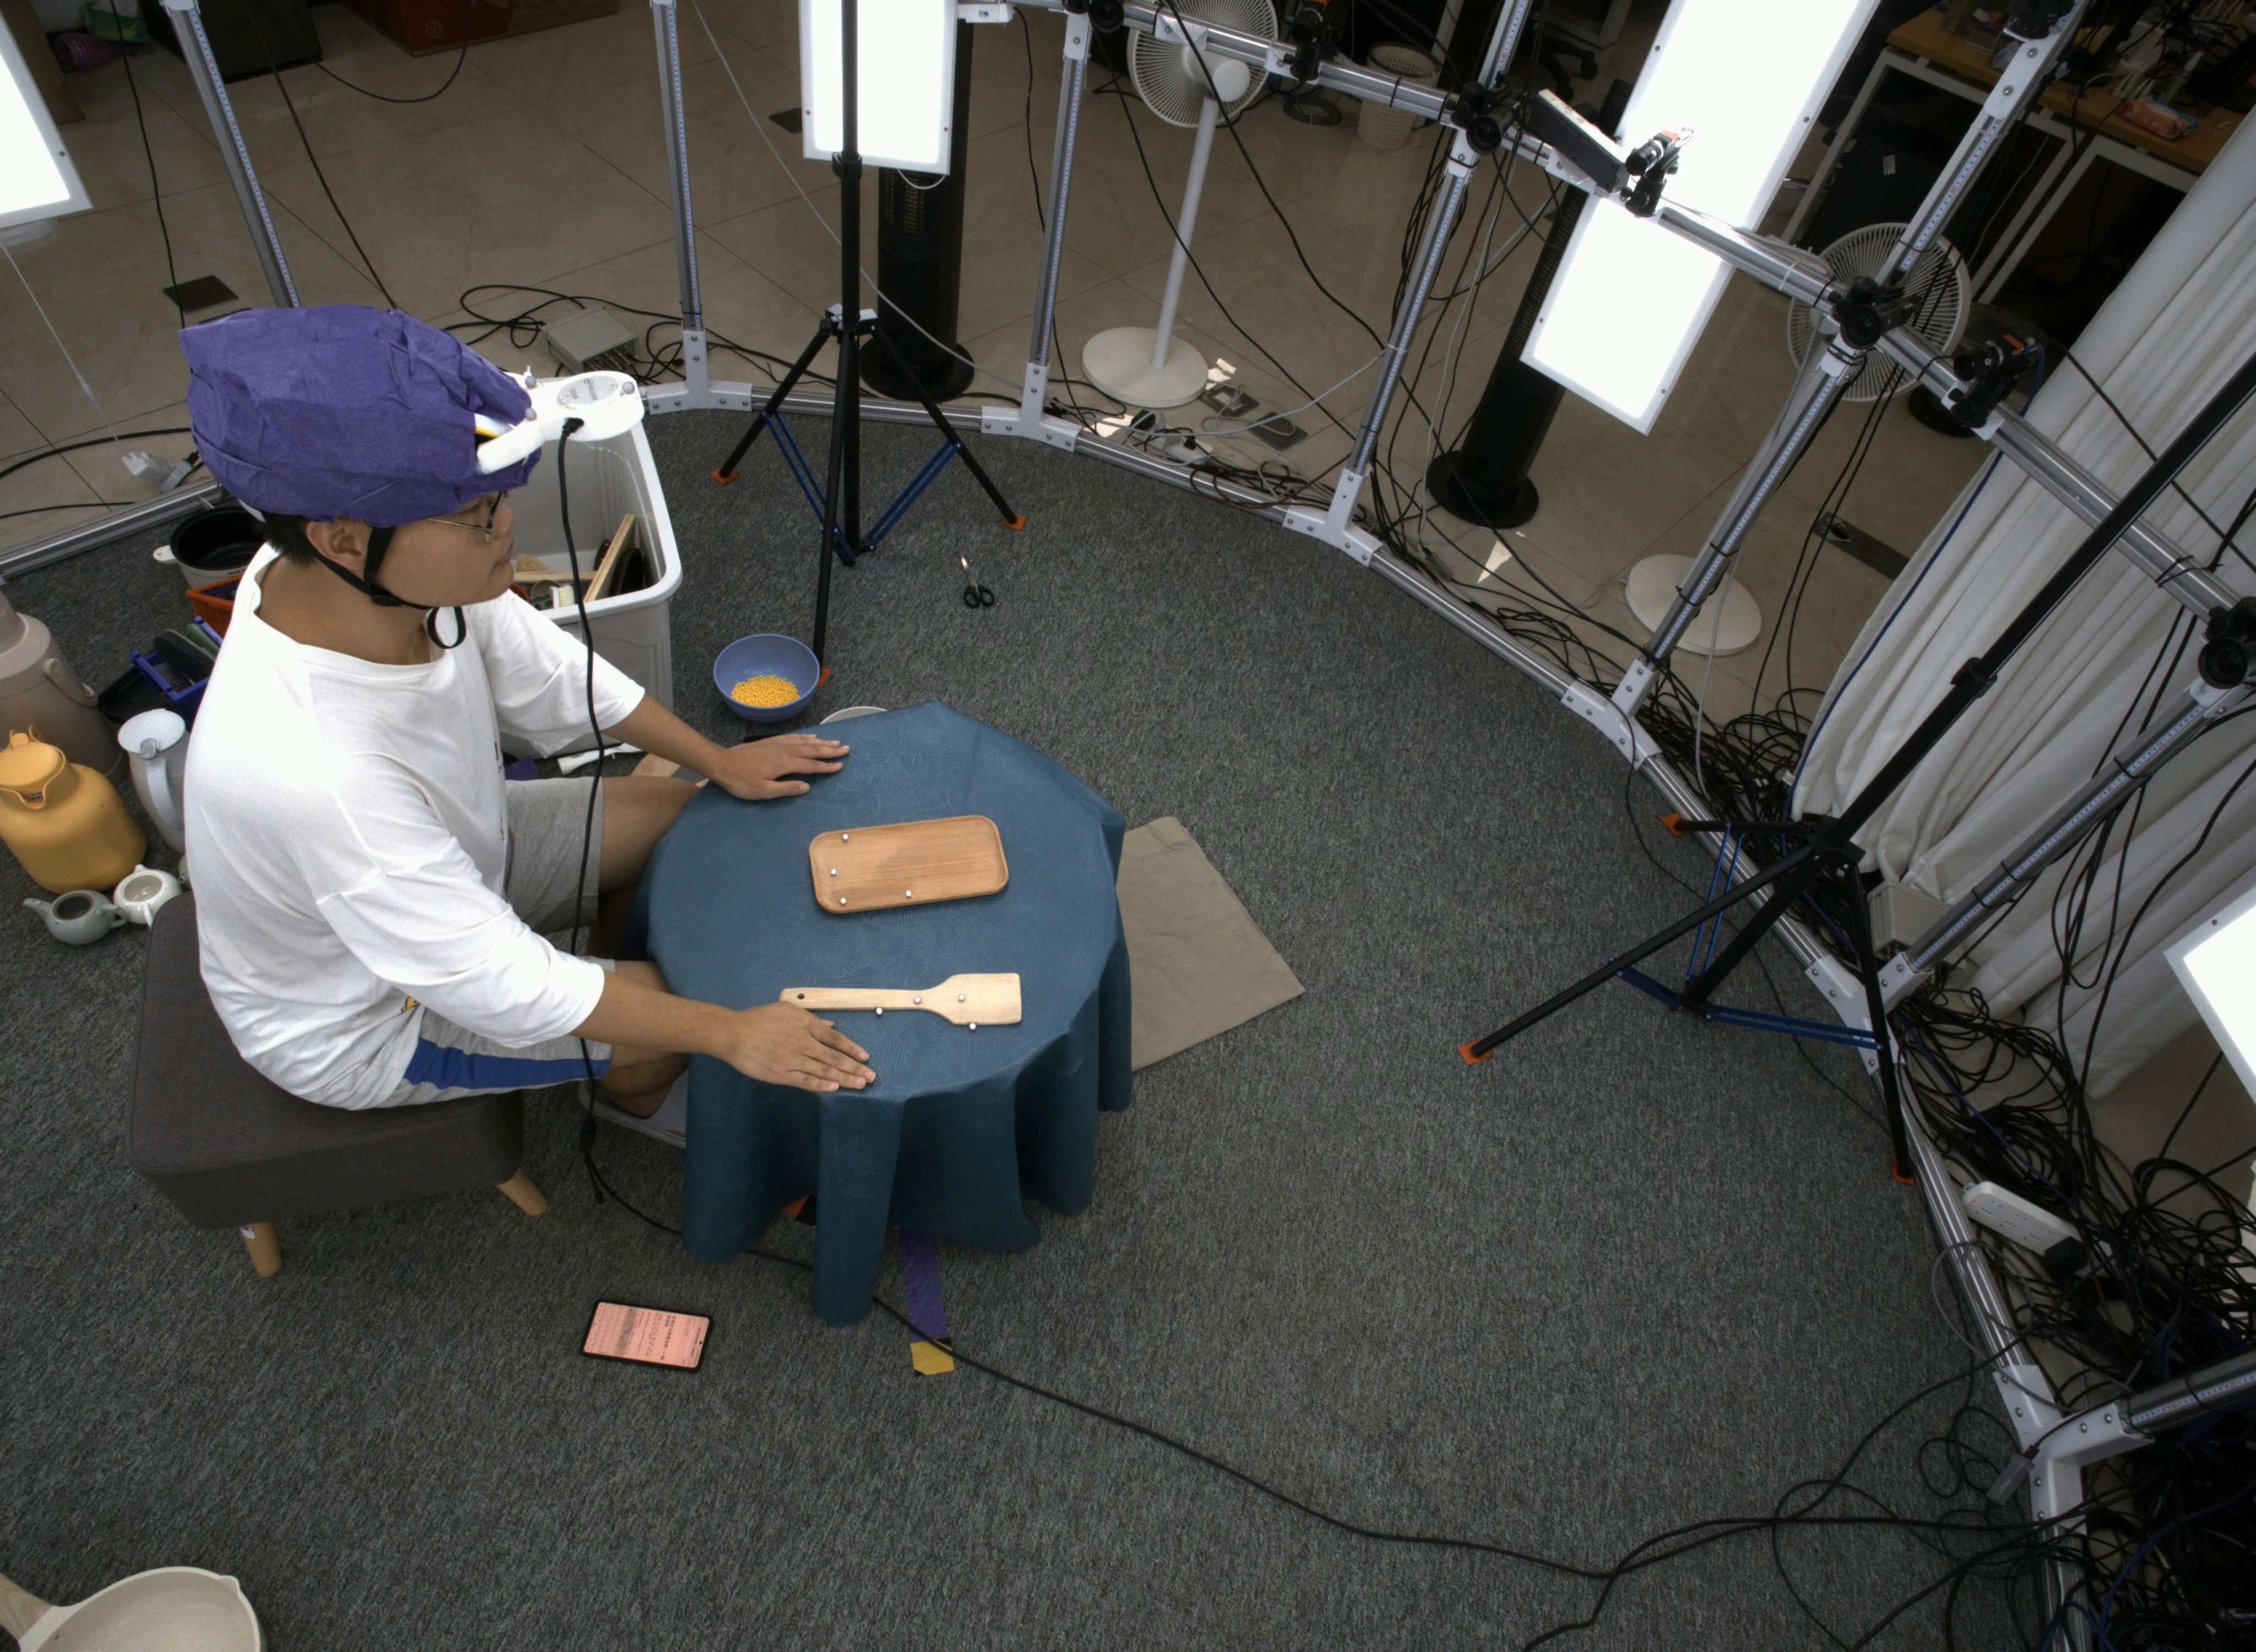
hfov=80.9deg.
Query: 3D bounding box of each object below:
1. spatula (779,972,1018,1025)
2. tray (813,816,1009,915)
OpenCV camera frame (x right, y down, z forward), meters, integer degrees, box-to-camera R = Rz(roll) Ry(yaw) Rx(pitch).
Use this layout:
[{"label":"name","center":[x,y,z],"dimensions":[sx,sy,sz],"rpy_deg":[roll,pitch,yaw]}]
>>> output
[{"label":"spatula","center":[-0.281,0.212,1.605],"dimensions":[0.293,0.011,0.071],"rpy_deg":[1,55,-13]},{"label":"tray","center":[-0.286,0.051,1.720],"dimensions":[0.251,0.023,0.128],"rpy_deg":[-5,58,-17]}]
